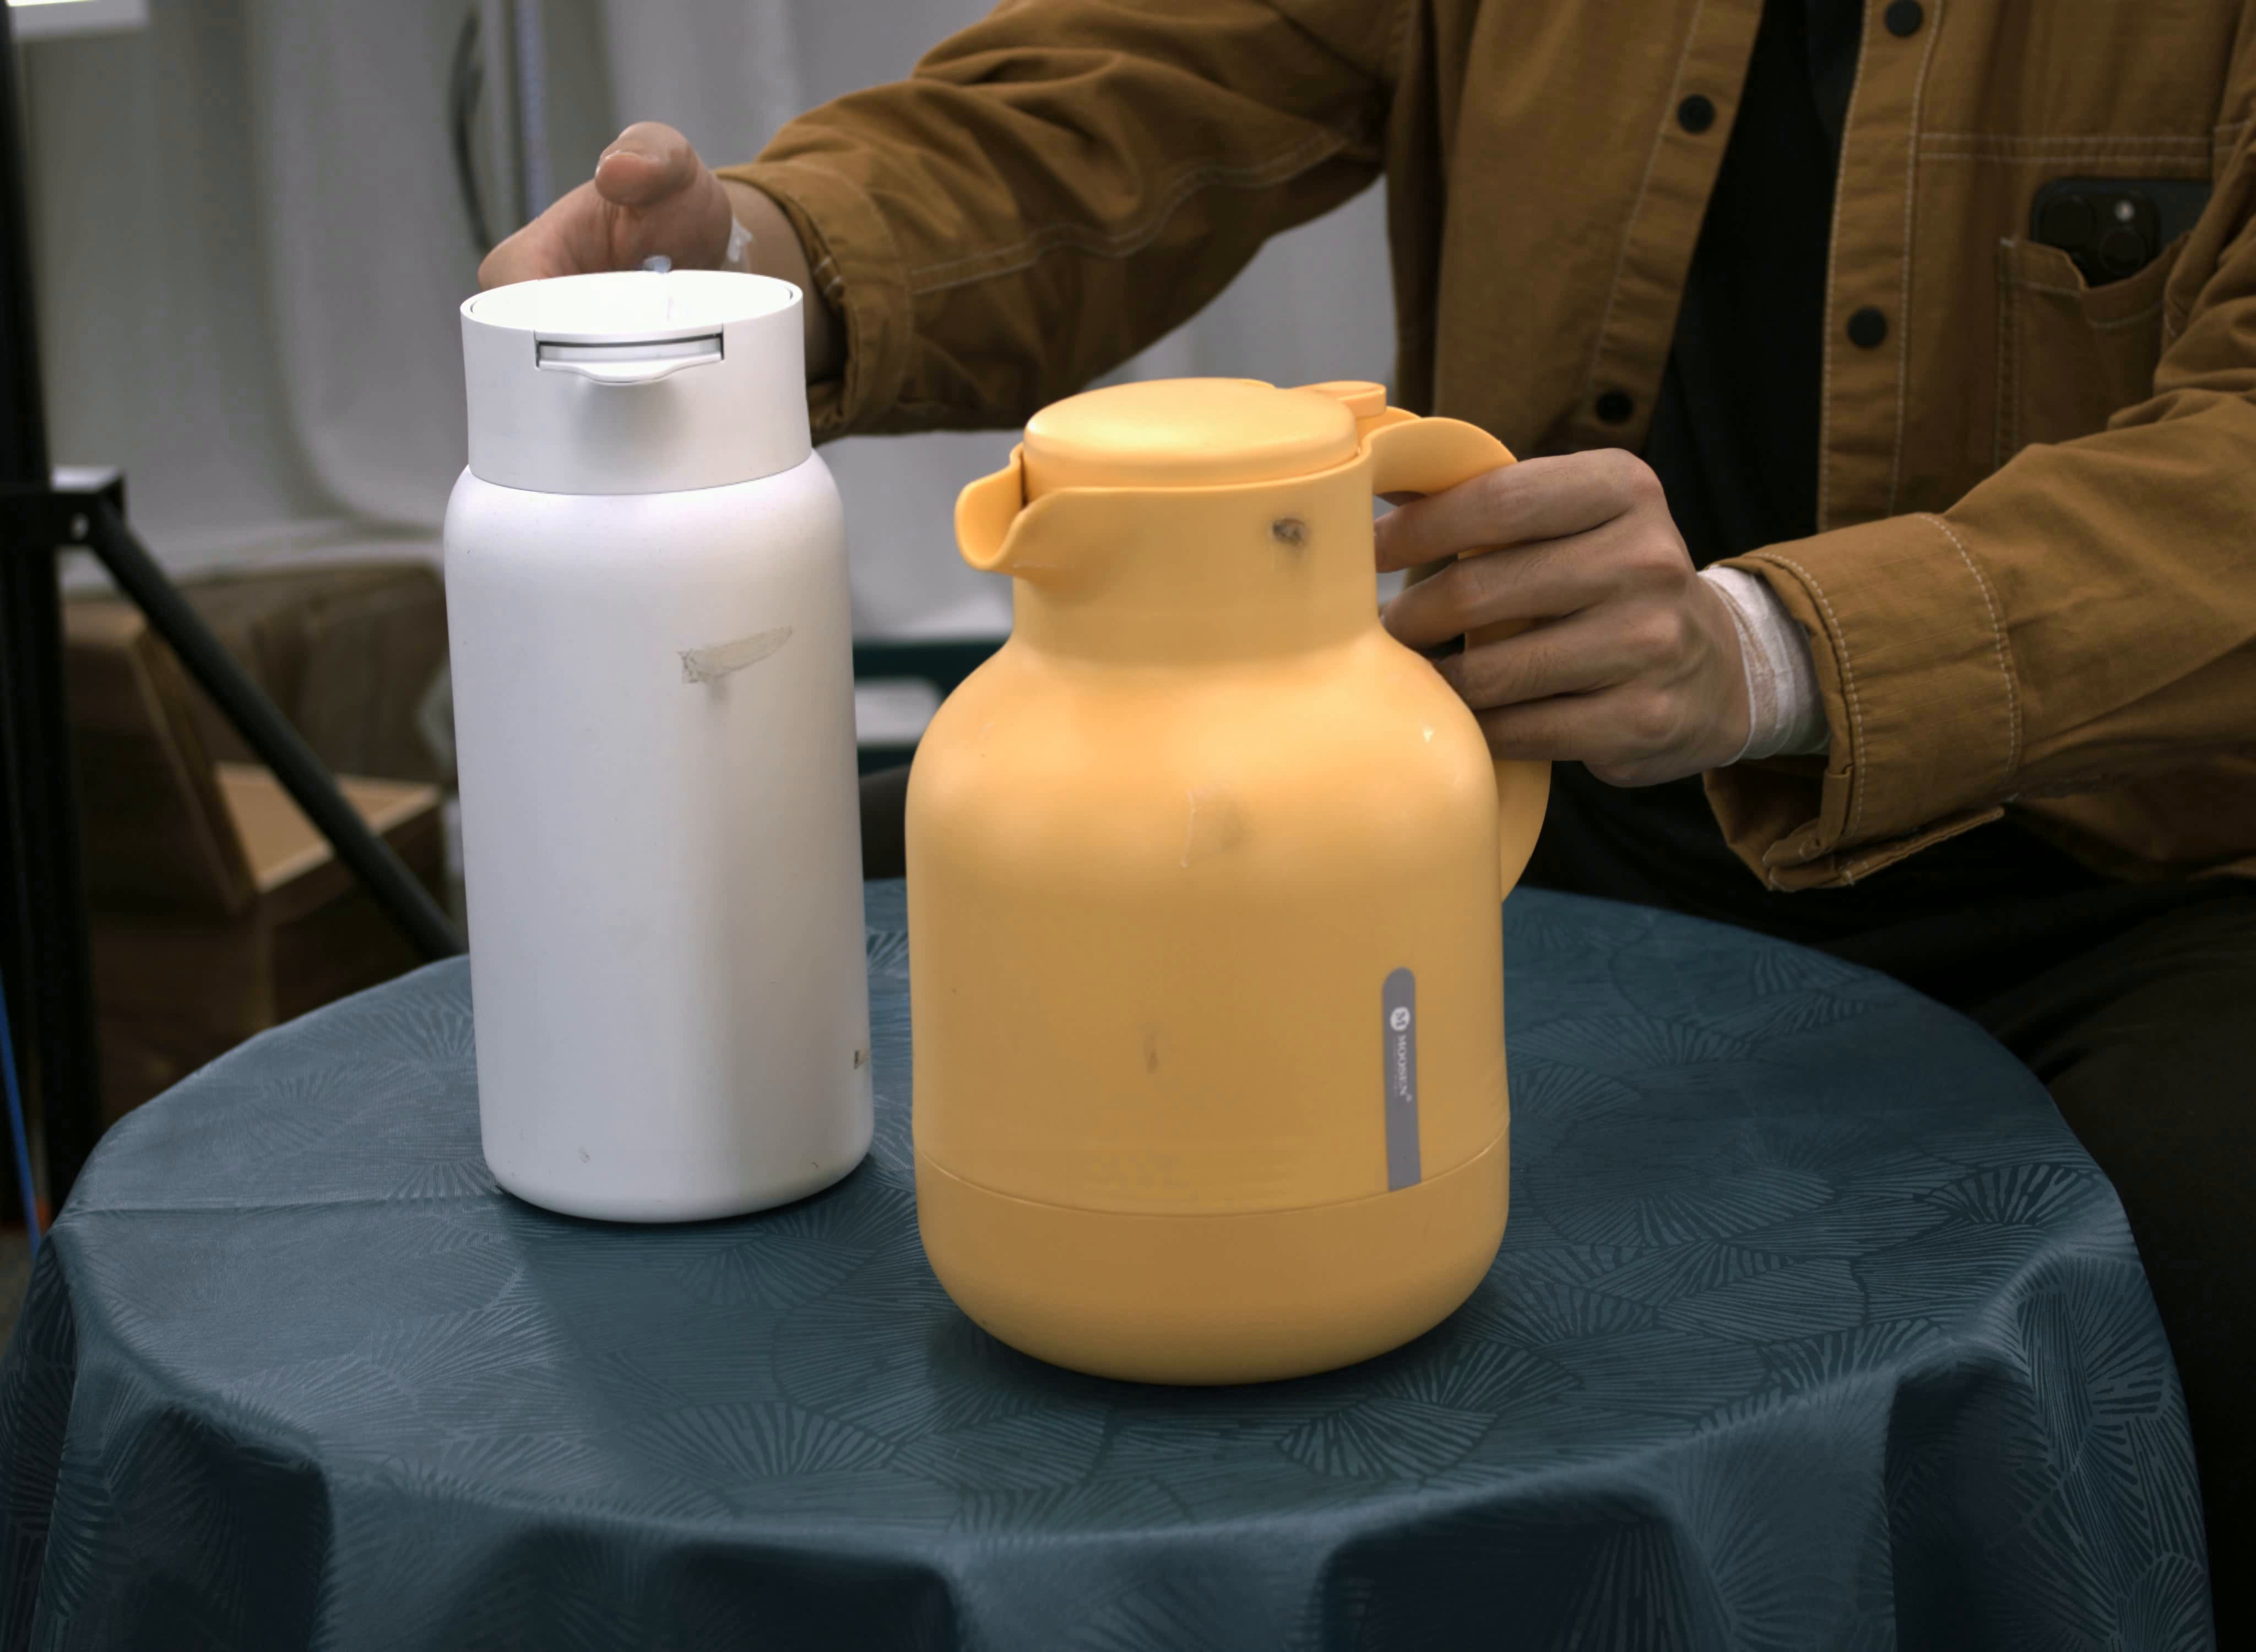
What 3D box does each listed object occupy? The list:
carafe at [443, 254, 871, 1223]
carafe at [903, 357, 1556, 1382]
[{"bbox_3d":[-0.141,-0.030,1.577,0.123,0.269,0.174,-5,14,-3],"label":"carafe"},{"bbox_3d":[0.036,0.004,1.433,0.198,0.260,0.167,-15,22,-34],"label":"carafe"}]
